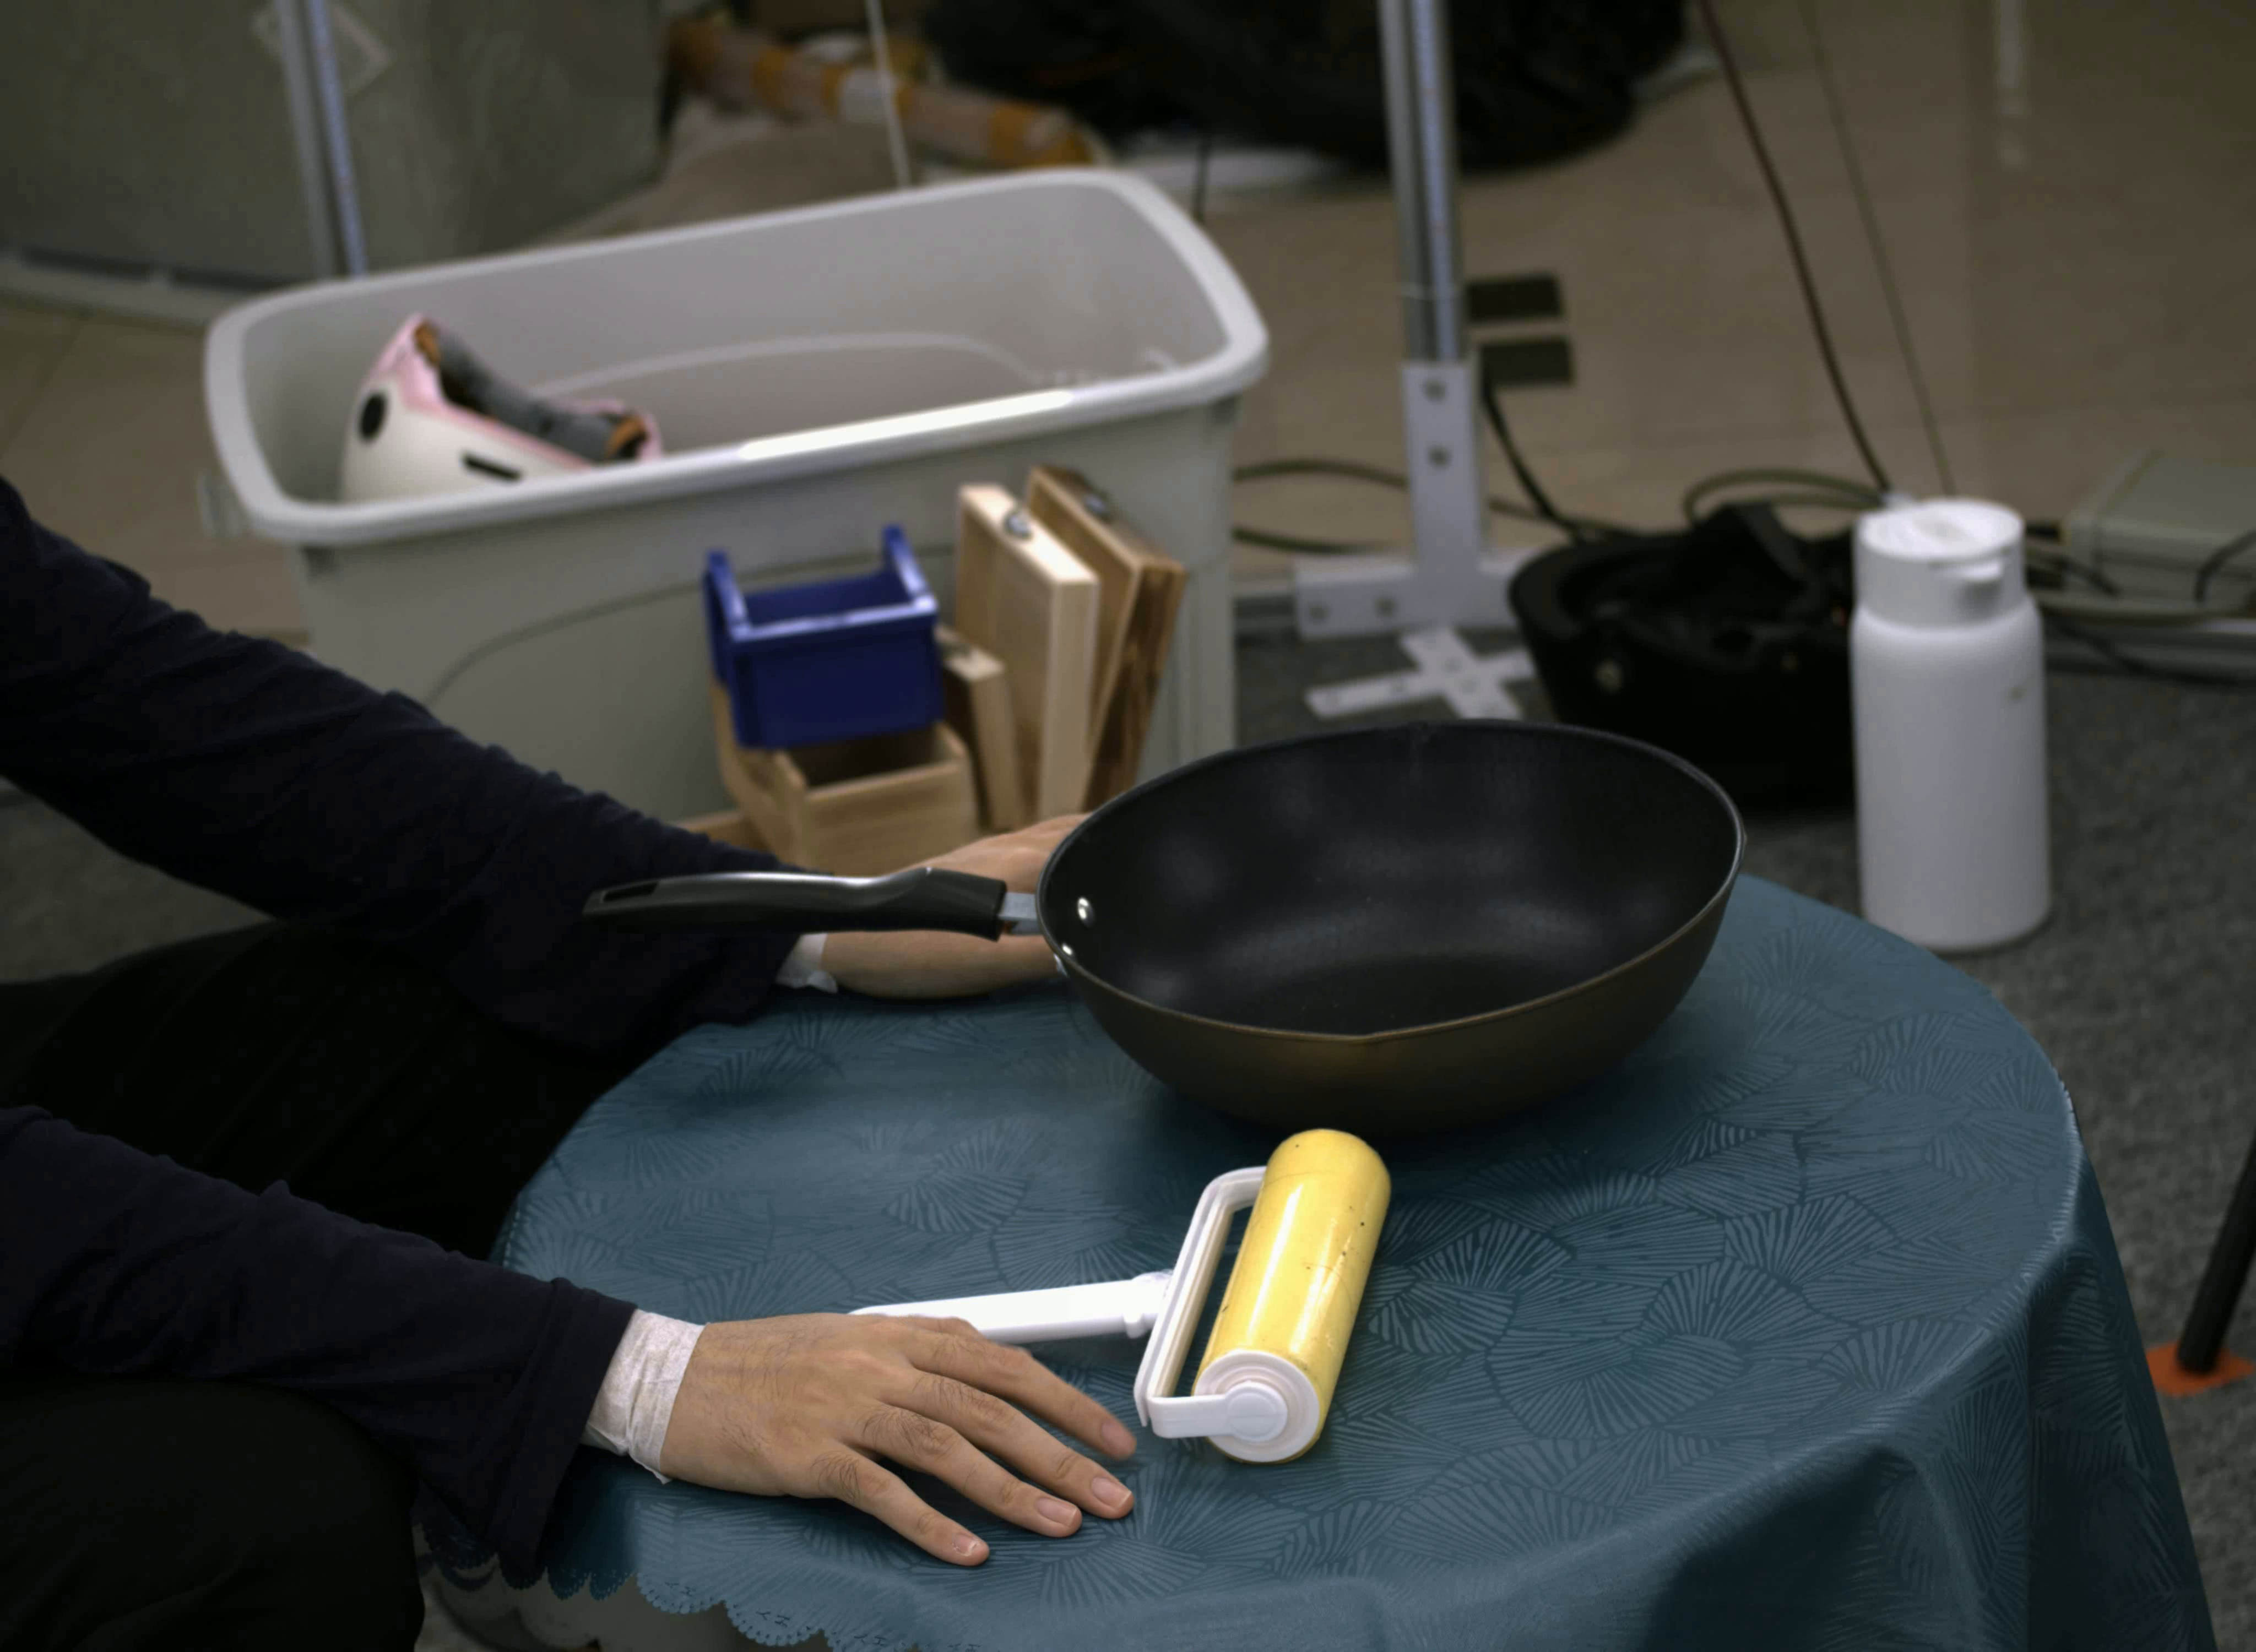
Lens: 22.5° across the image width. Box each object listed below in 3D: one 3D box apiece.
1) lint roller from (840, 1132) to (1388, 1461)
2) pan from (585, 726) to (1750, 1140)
[{"bbox_3d":[-0.012,0.169,2.034,0.191,0.052,0.172,-1,25,12],"label":"lint roller"},{"bbox_3d":[0.015,0.054,2.231,0.462,0.088,0.284,-3,24,9],"label":"pan"}]
